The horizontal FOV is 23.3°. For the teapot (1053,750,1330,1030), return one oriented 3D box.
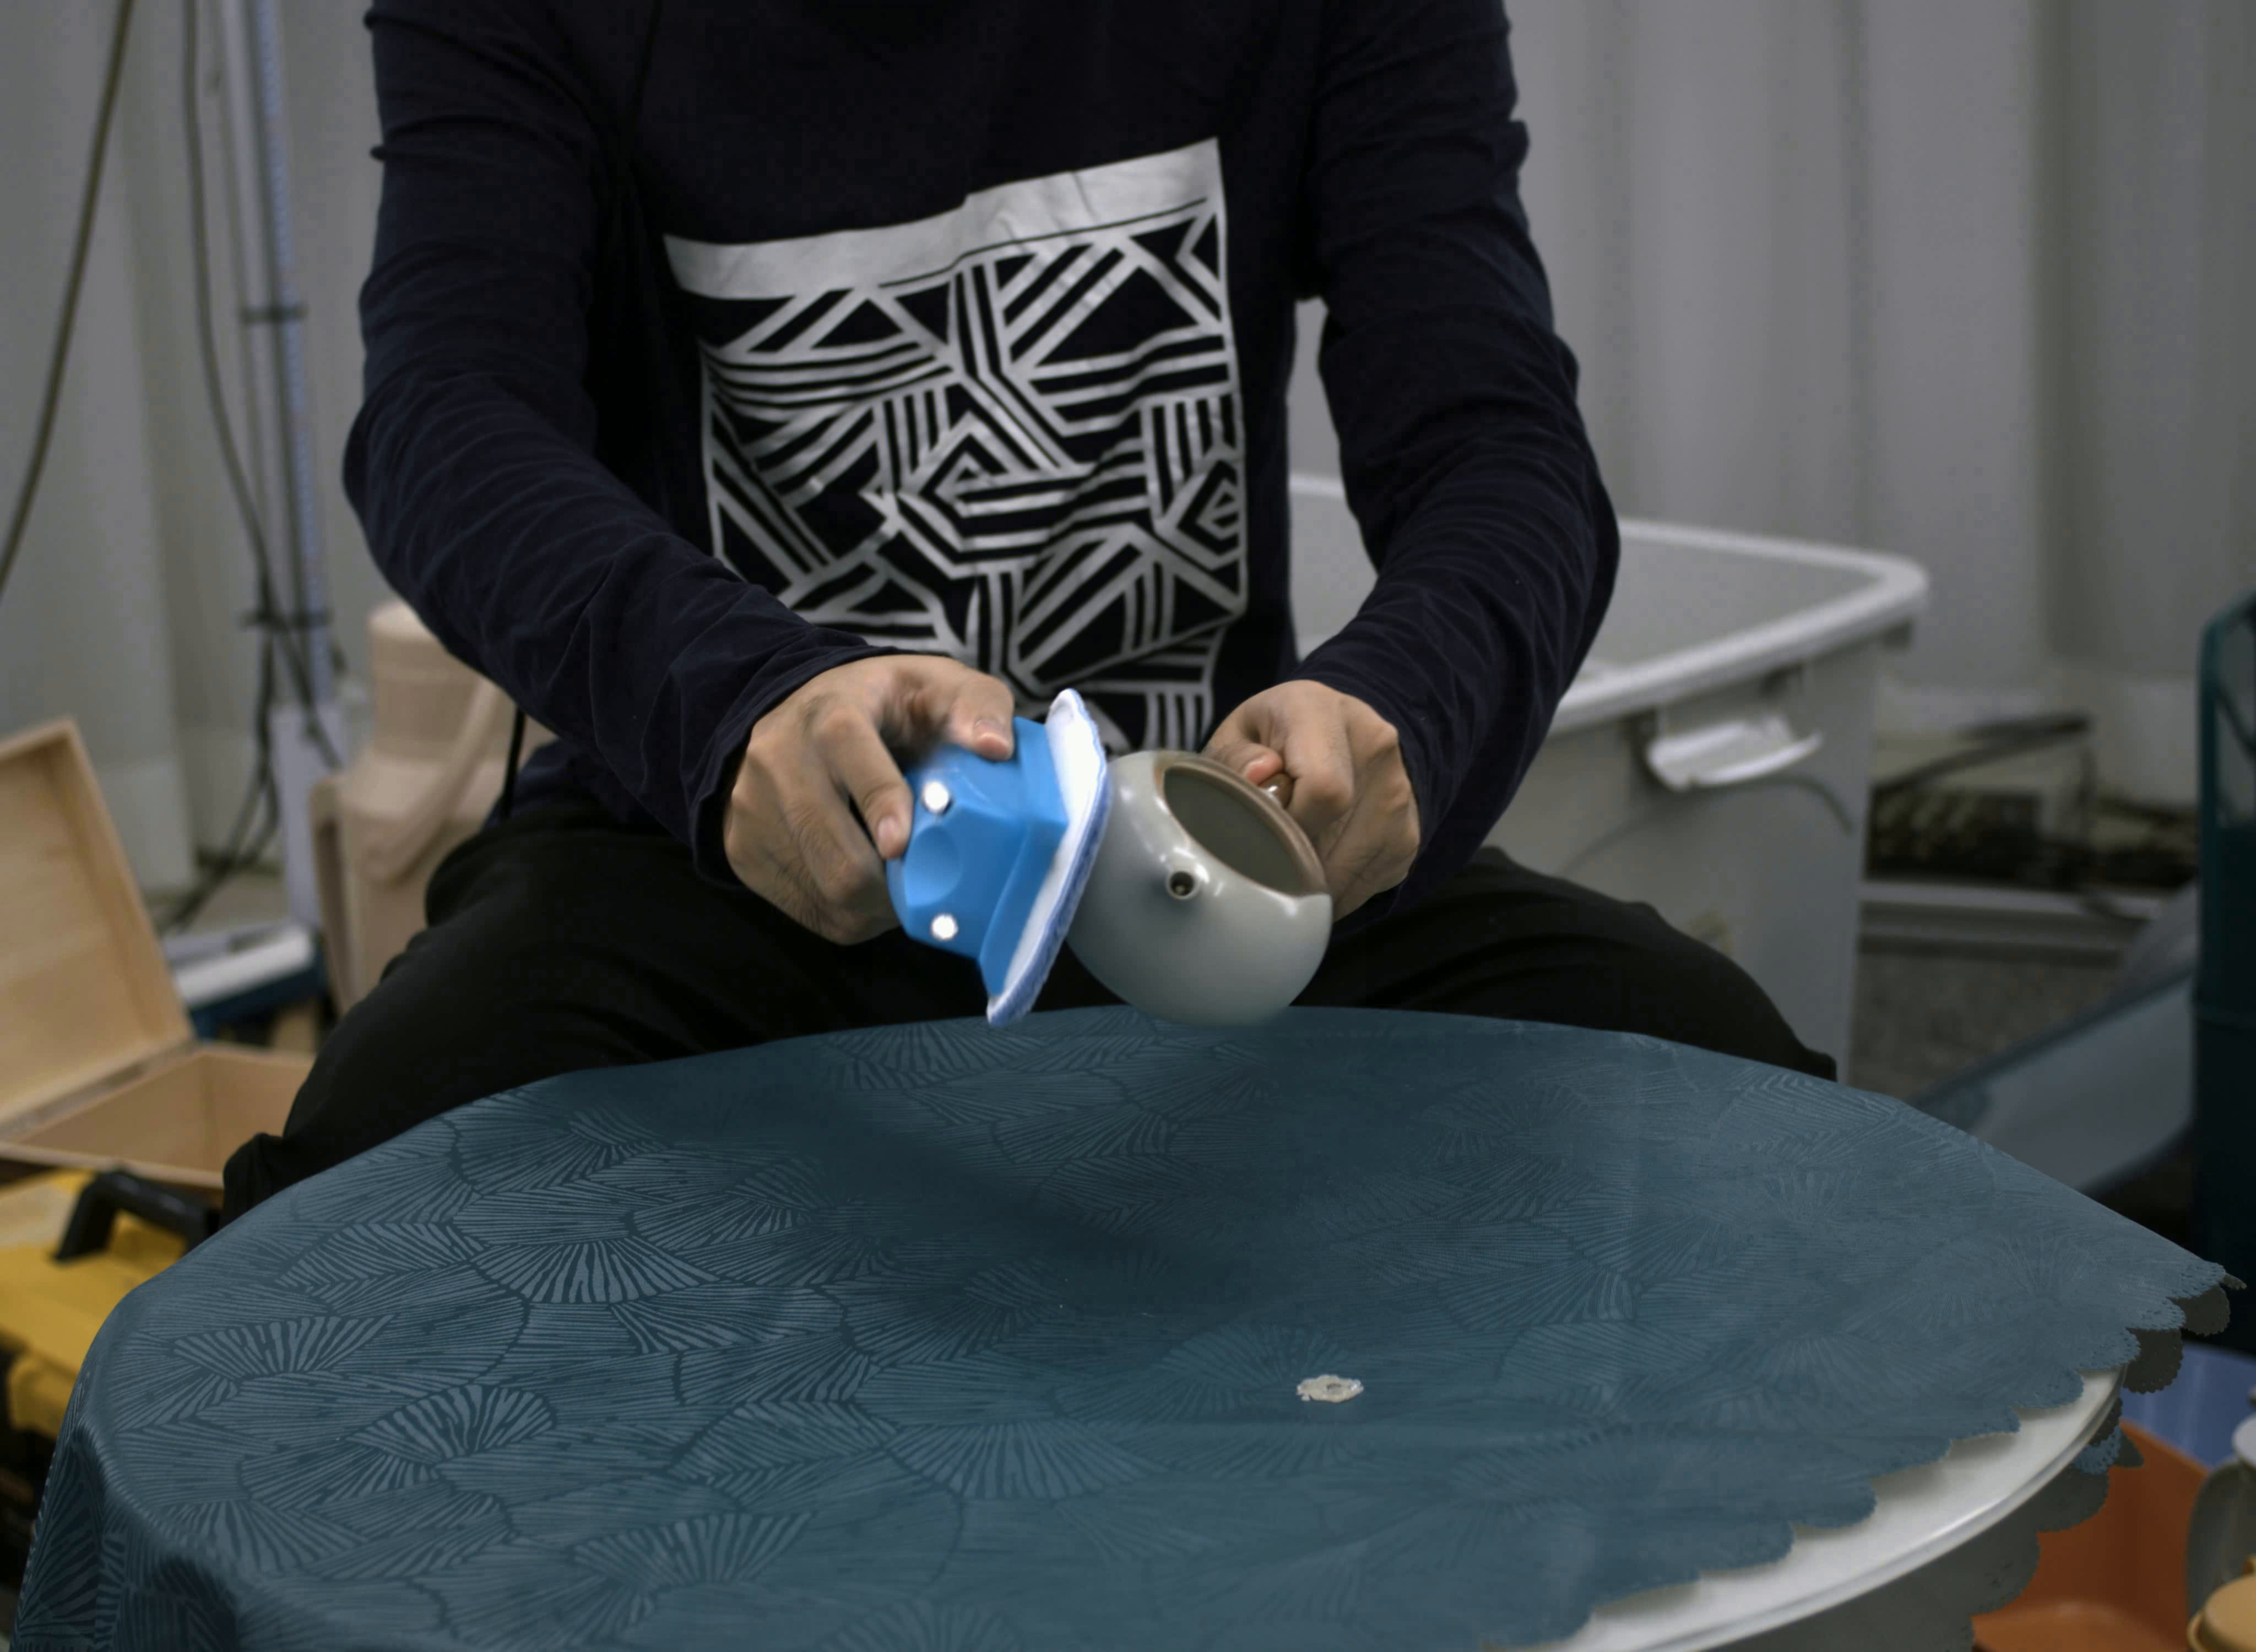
[{"bbox_3d":[0.020,0.016,1.648,0.092,0.059,0.129,36,25,2],"label":"teapot"}]

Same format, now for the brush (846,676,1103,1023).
[{"bbox_3d":[-0.051,0.000,1.611,0.055,0.084,0.145,25,11,-16],"label":"brush"}]
